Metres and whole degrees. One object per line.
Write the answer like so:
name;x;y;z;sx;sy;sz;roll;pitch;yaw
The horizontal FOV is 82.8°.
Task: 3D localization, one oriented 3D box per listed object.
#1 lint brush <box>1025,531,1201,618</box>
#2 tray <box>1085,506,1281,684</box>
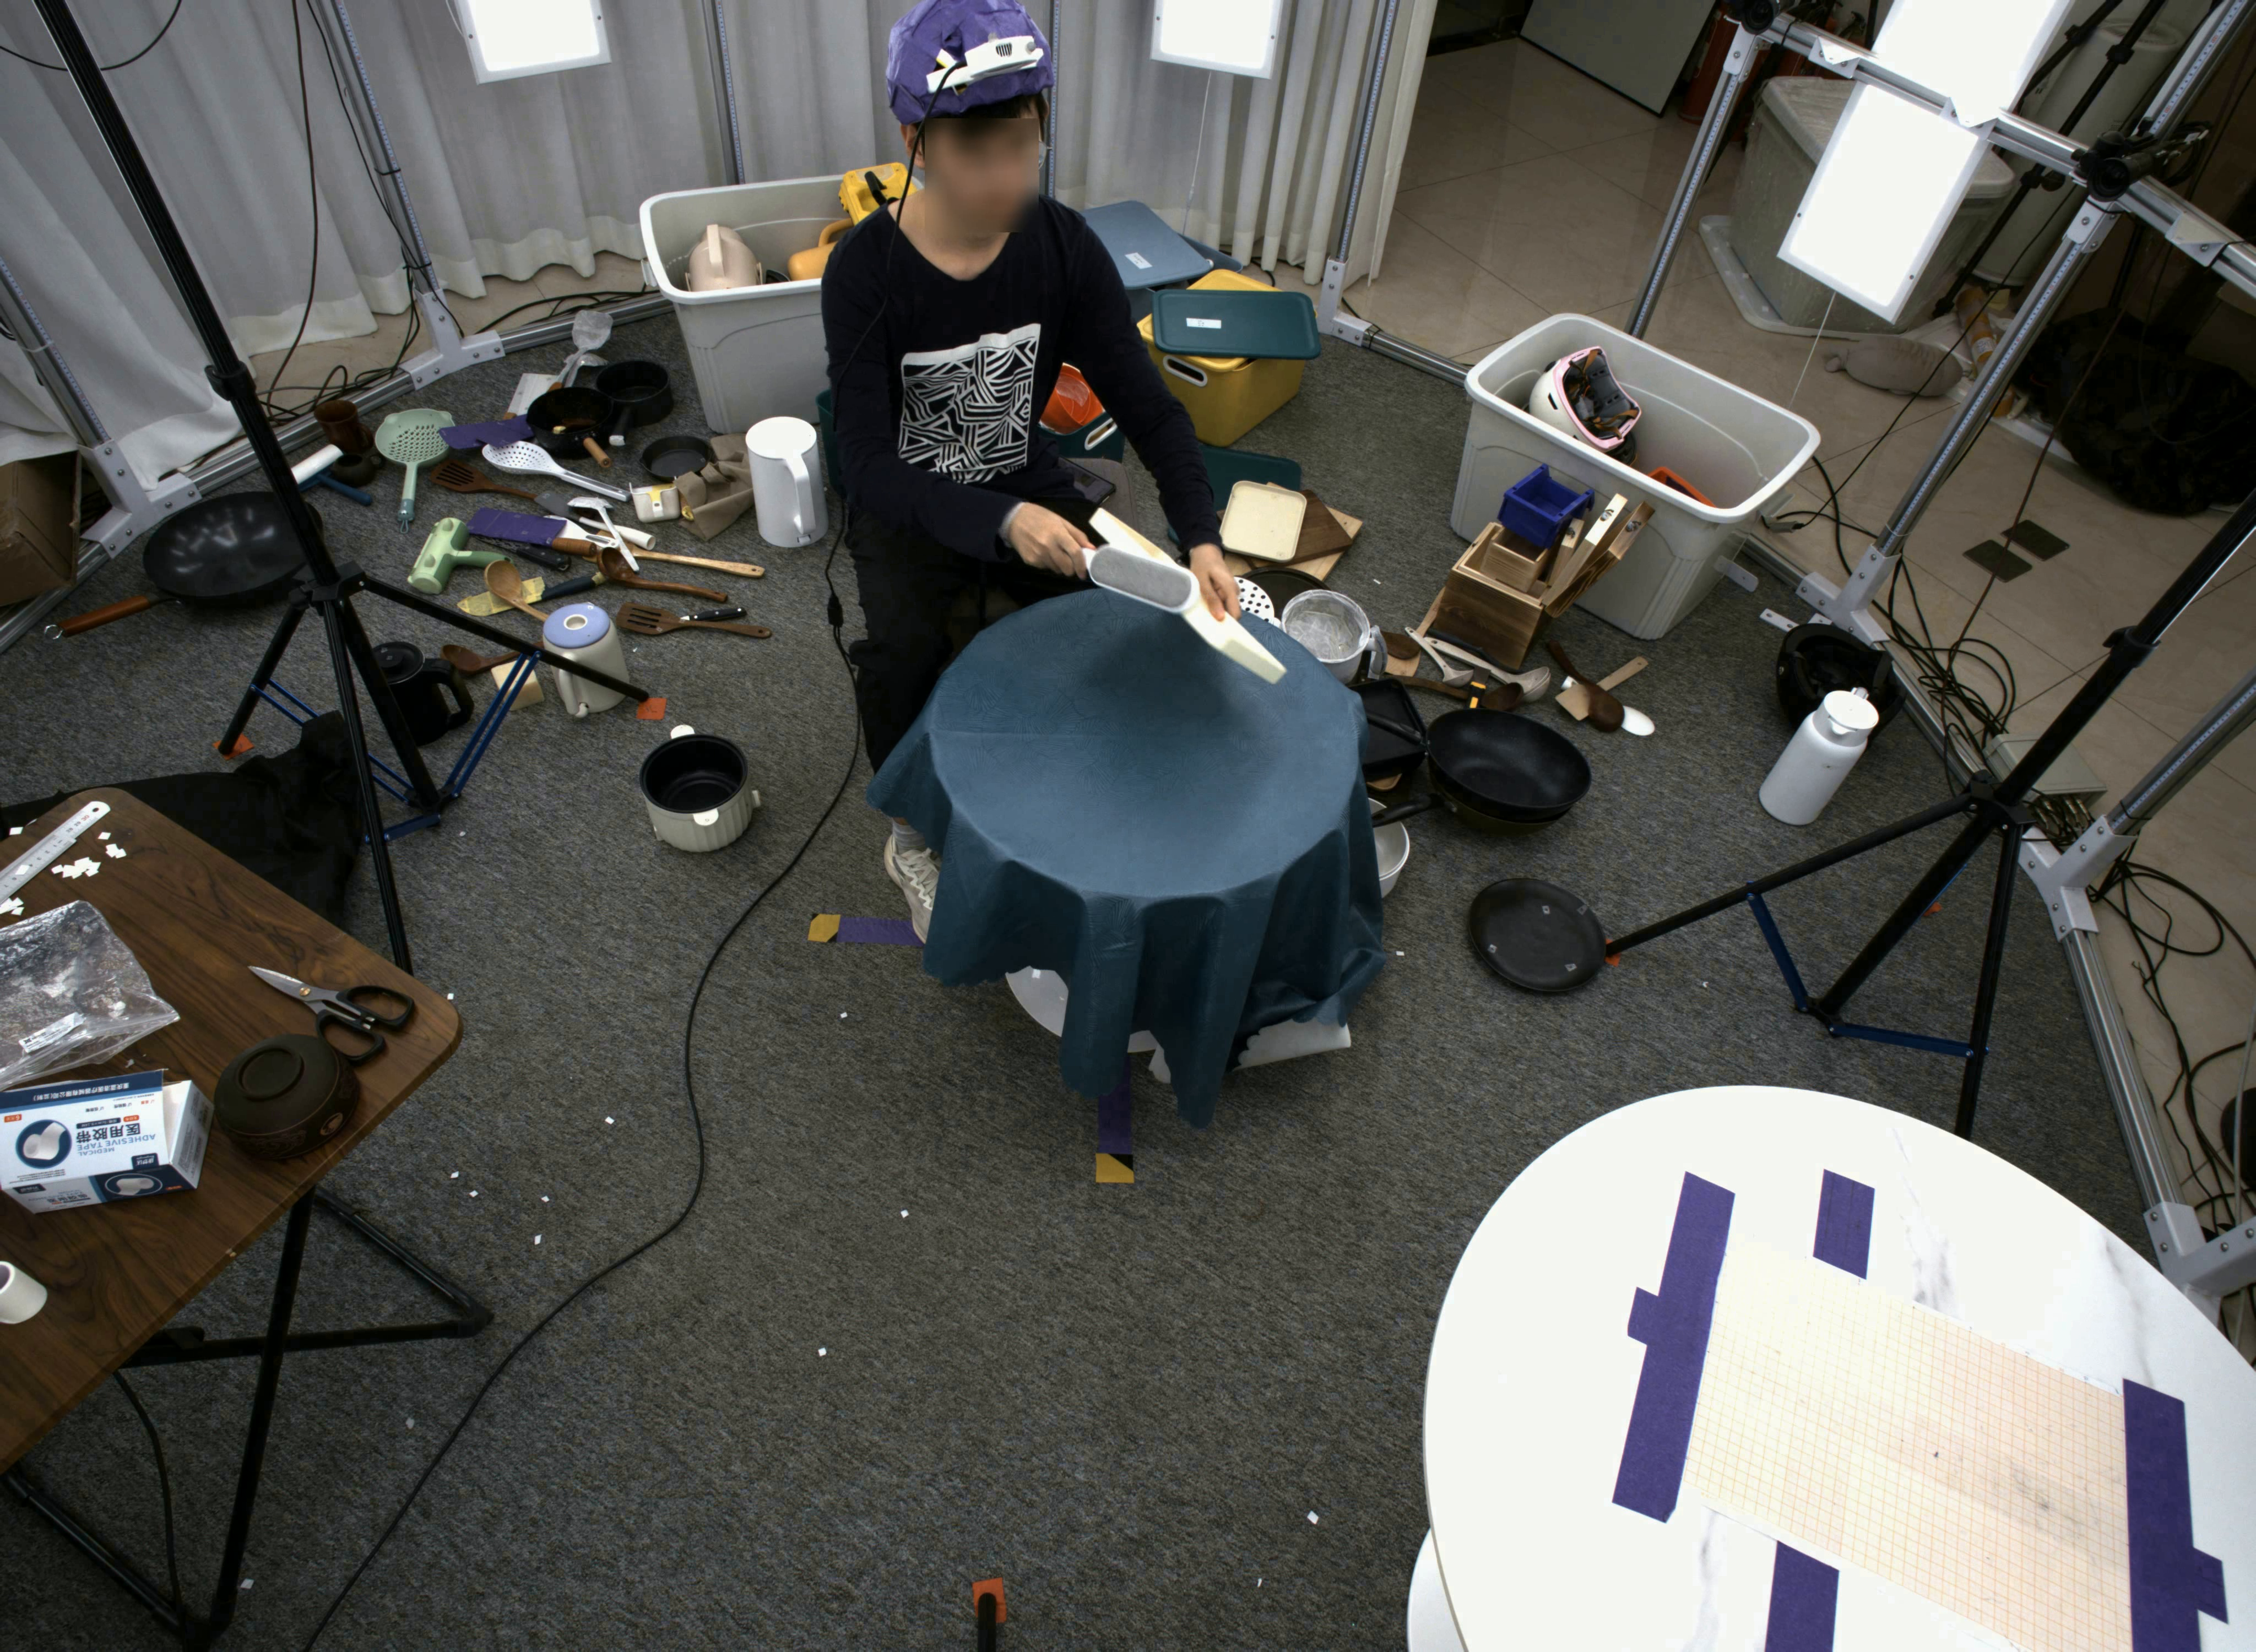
lint brush;-0.026;-0.341;1.698;0.313;0.059;0.021;28;12;36
tray;0.074;-0.314;1.752;0.189;0.027;0.306;20;26;-54
